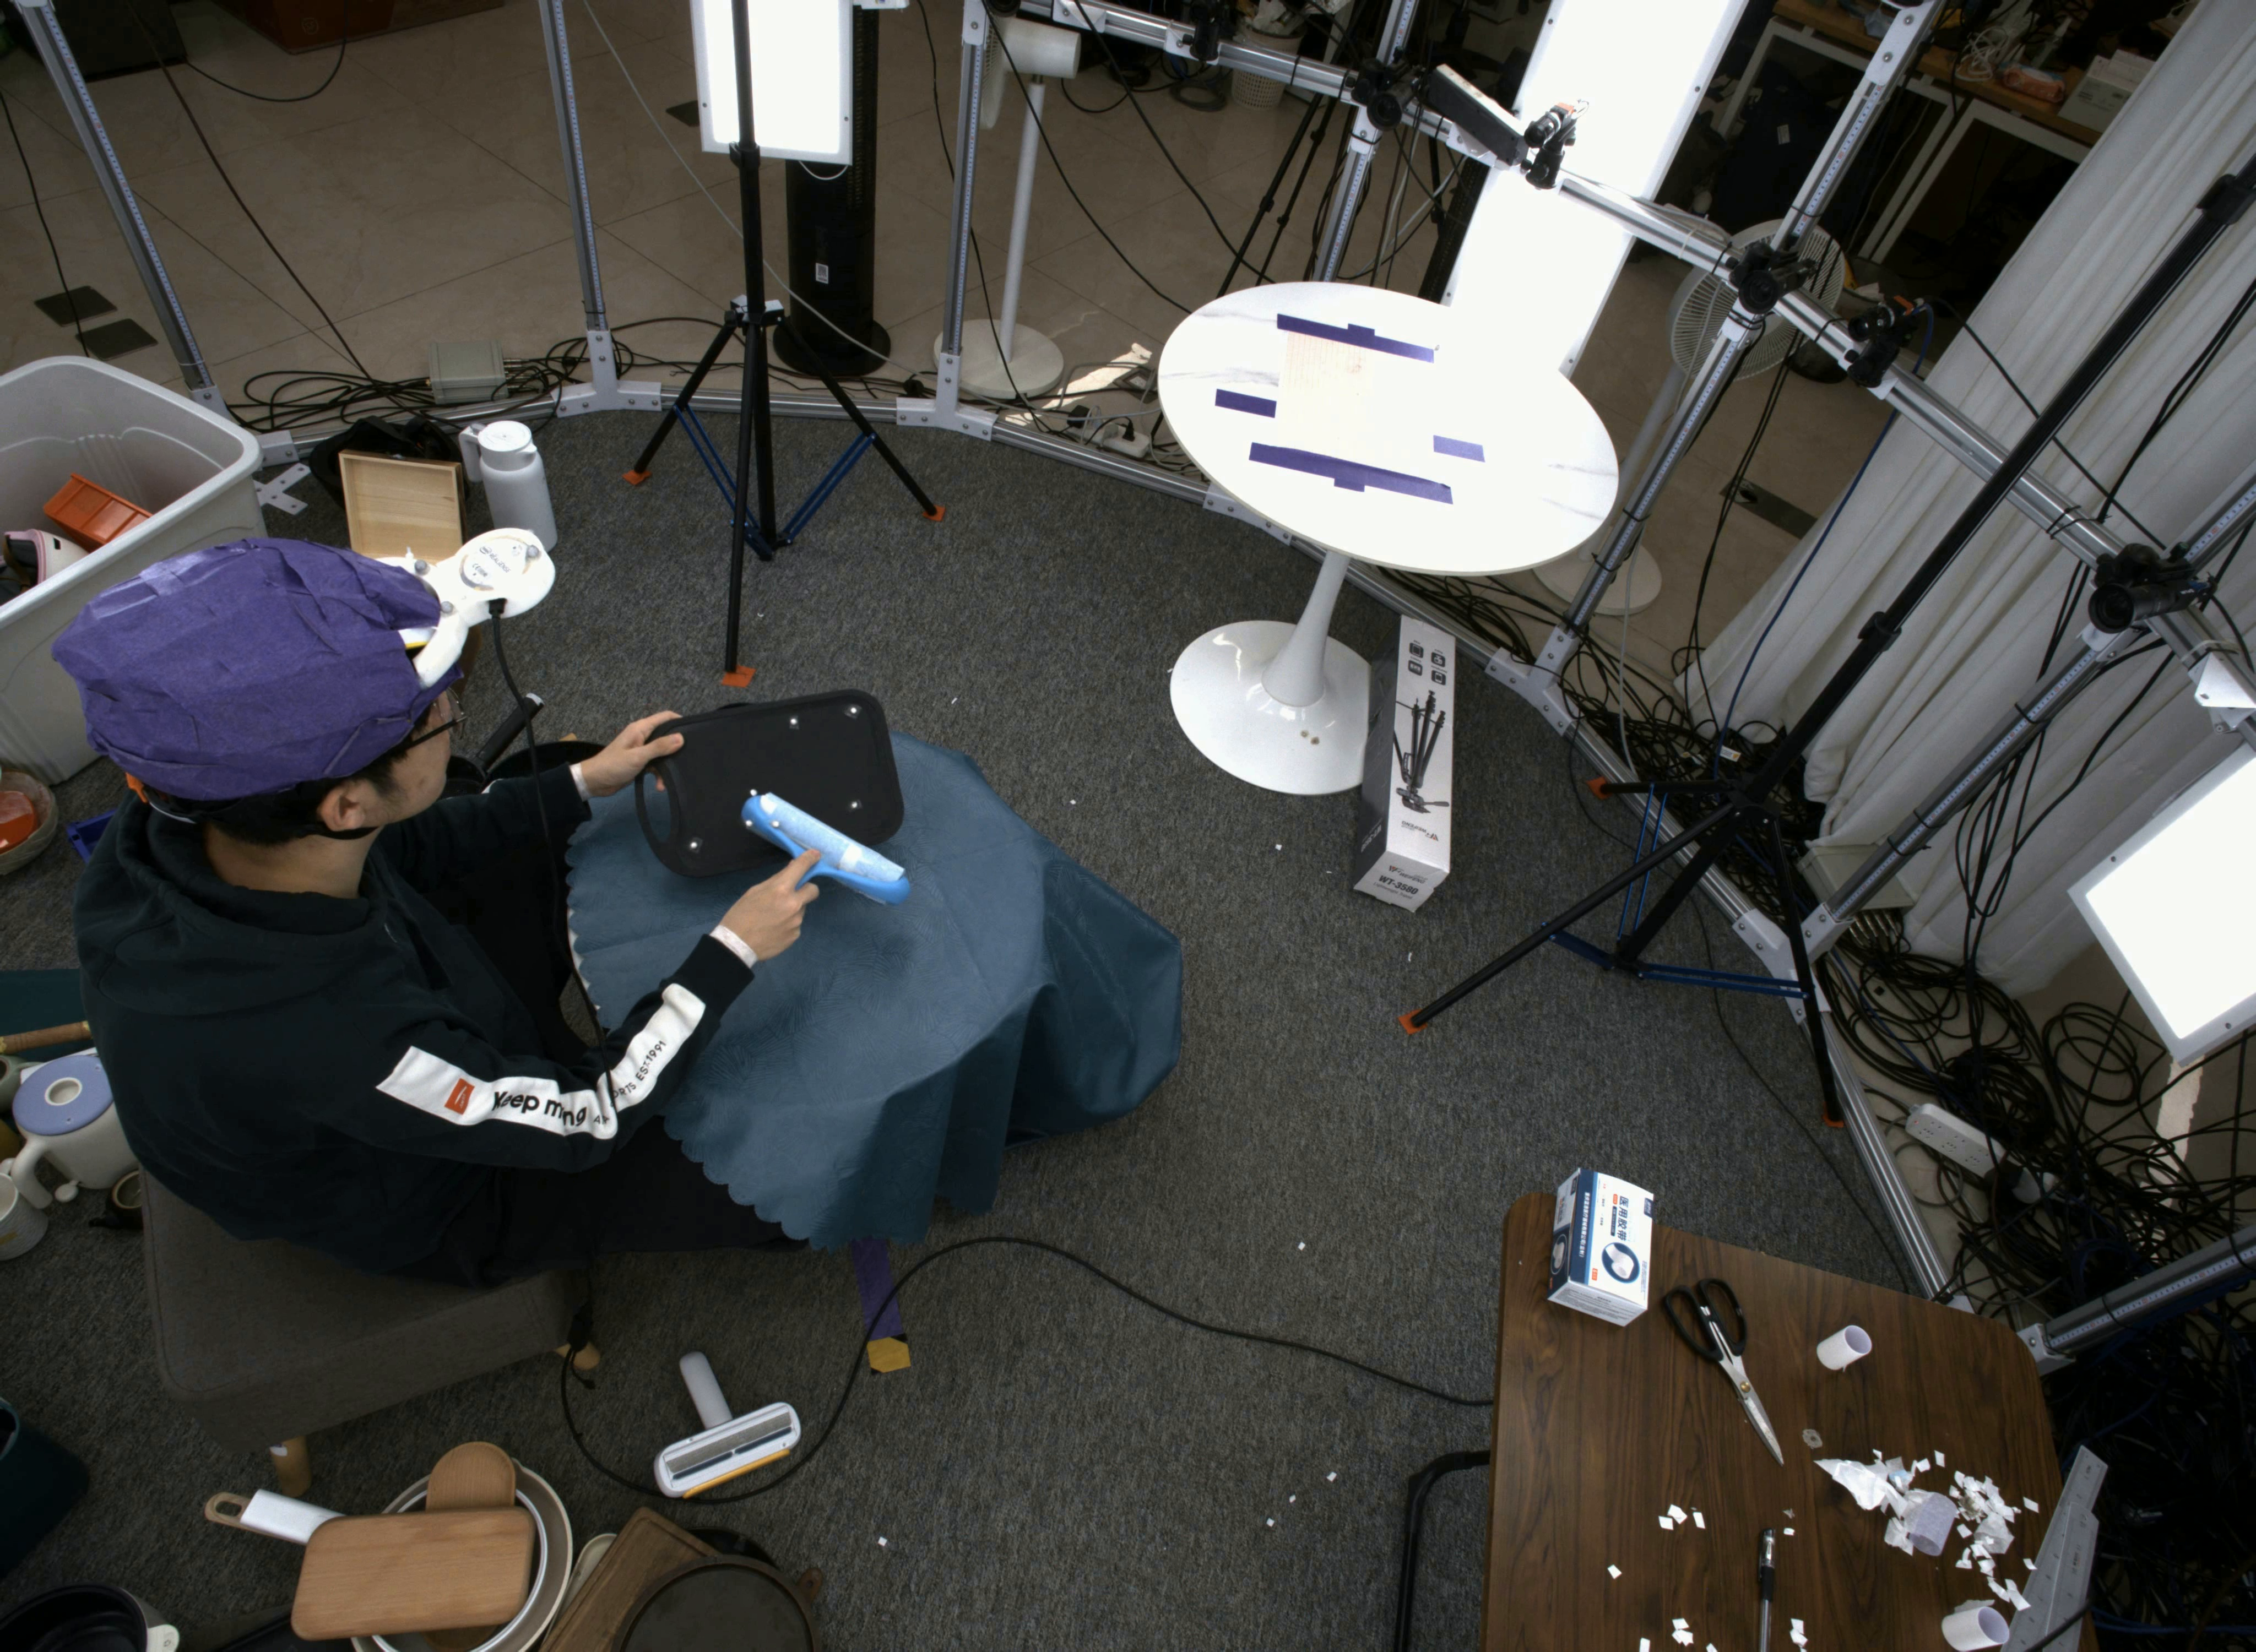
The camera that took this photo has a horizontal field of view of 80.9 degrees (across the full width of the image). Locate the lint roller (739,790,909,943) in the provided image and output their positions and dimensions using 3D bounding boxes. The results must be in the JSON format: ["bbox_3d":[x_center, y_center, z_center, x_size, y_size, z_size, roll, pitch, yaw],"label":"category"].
[{"bbox_3d":[-0.387,0.060,1.548,0.230,0.068,0.178,30,41,-8],"label":"lint roller"}]

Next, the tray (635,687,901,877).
[{"bbox_3d":[-0.459,-0.057,1.636,0.325,0.010,0.211,-11,83,-15],"label":"tray"}]
